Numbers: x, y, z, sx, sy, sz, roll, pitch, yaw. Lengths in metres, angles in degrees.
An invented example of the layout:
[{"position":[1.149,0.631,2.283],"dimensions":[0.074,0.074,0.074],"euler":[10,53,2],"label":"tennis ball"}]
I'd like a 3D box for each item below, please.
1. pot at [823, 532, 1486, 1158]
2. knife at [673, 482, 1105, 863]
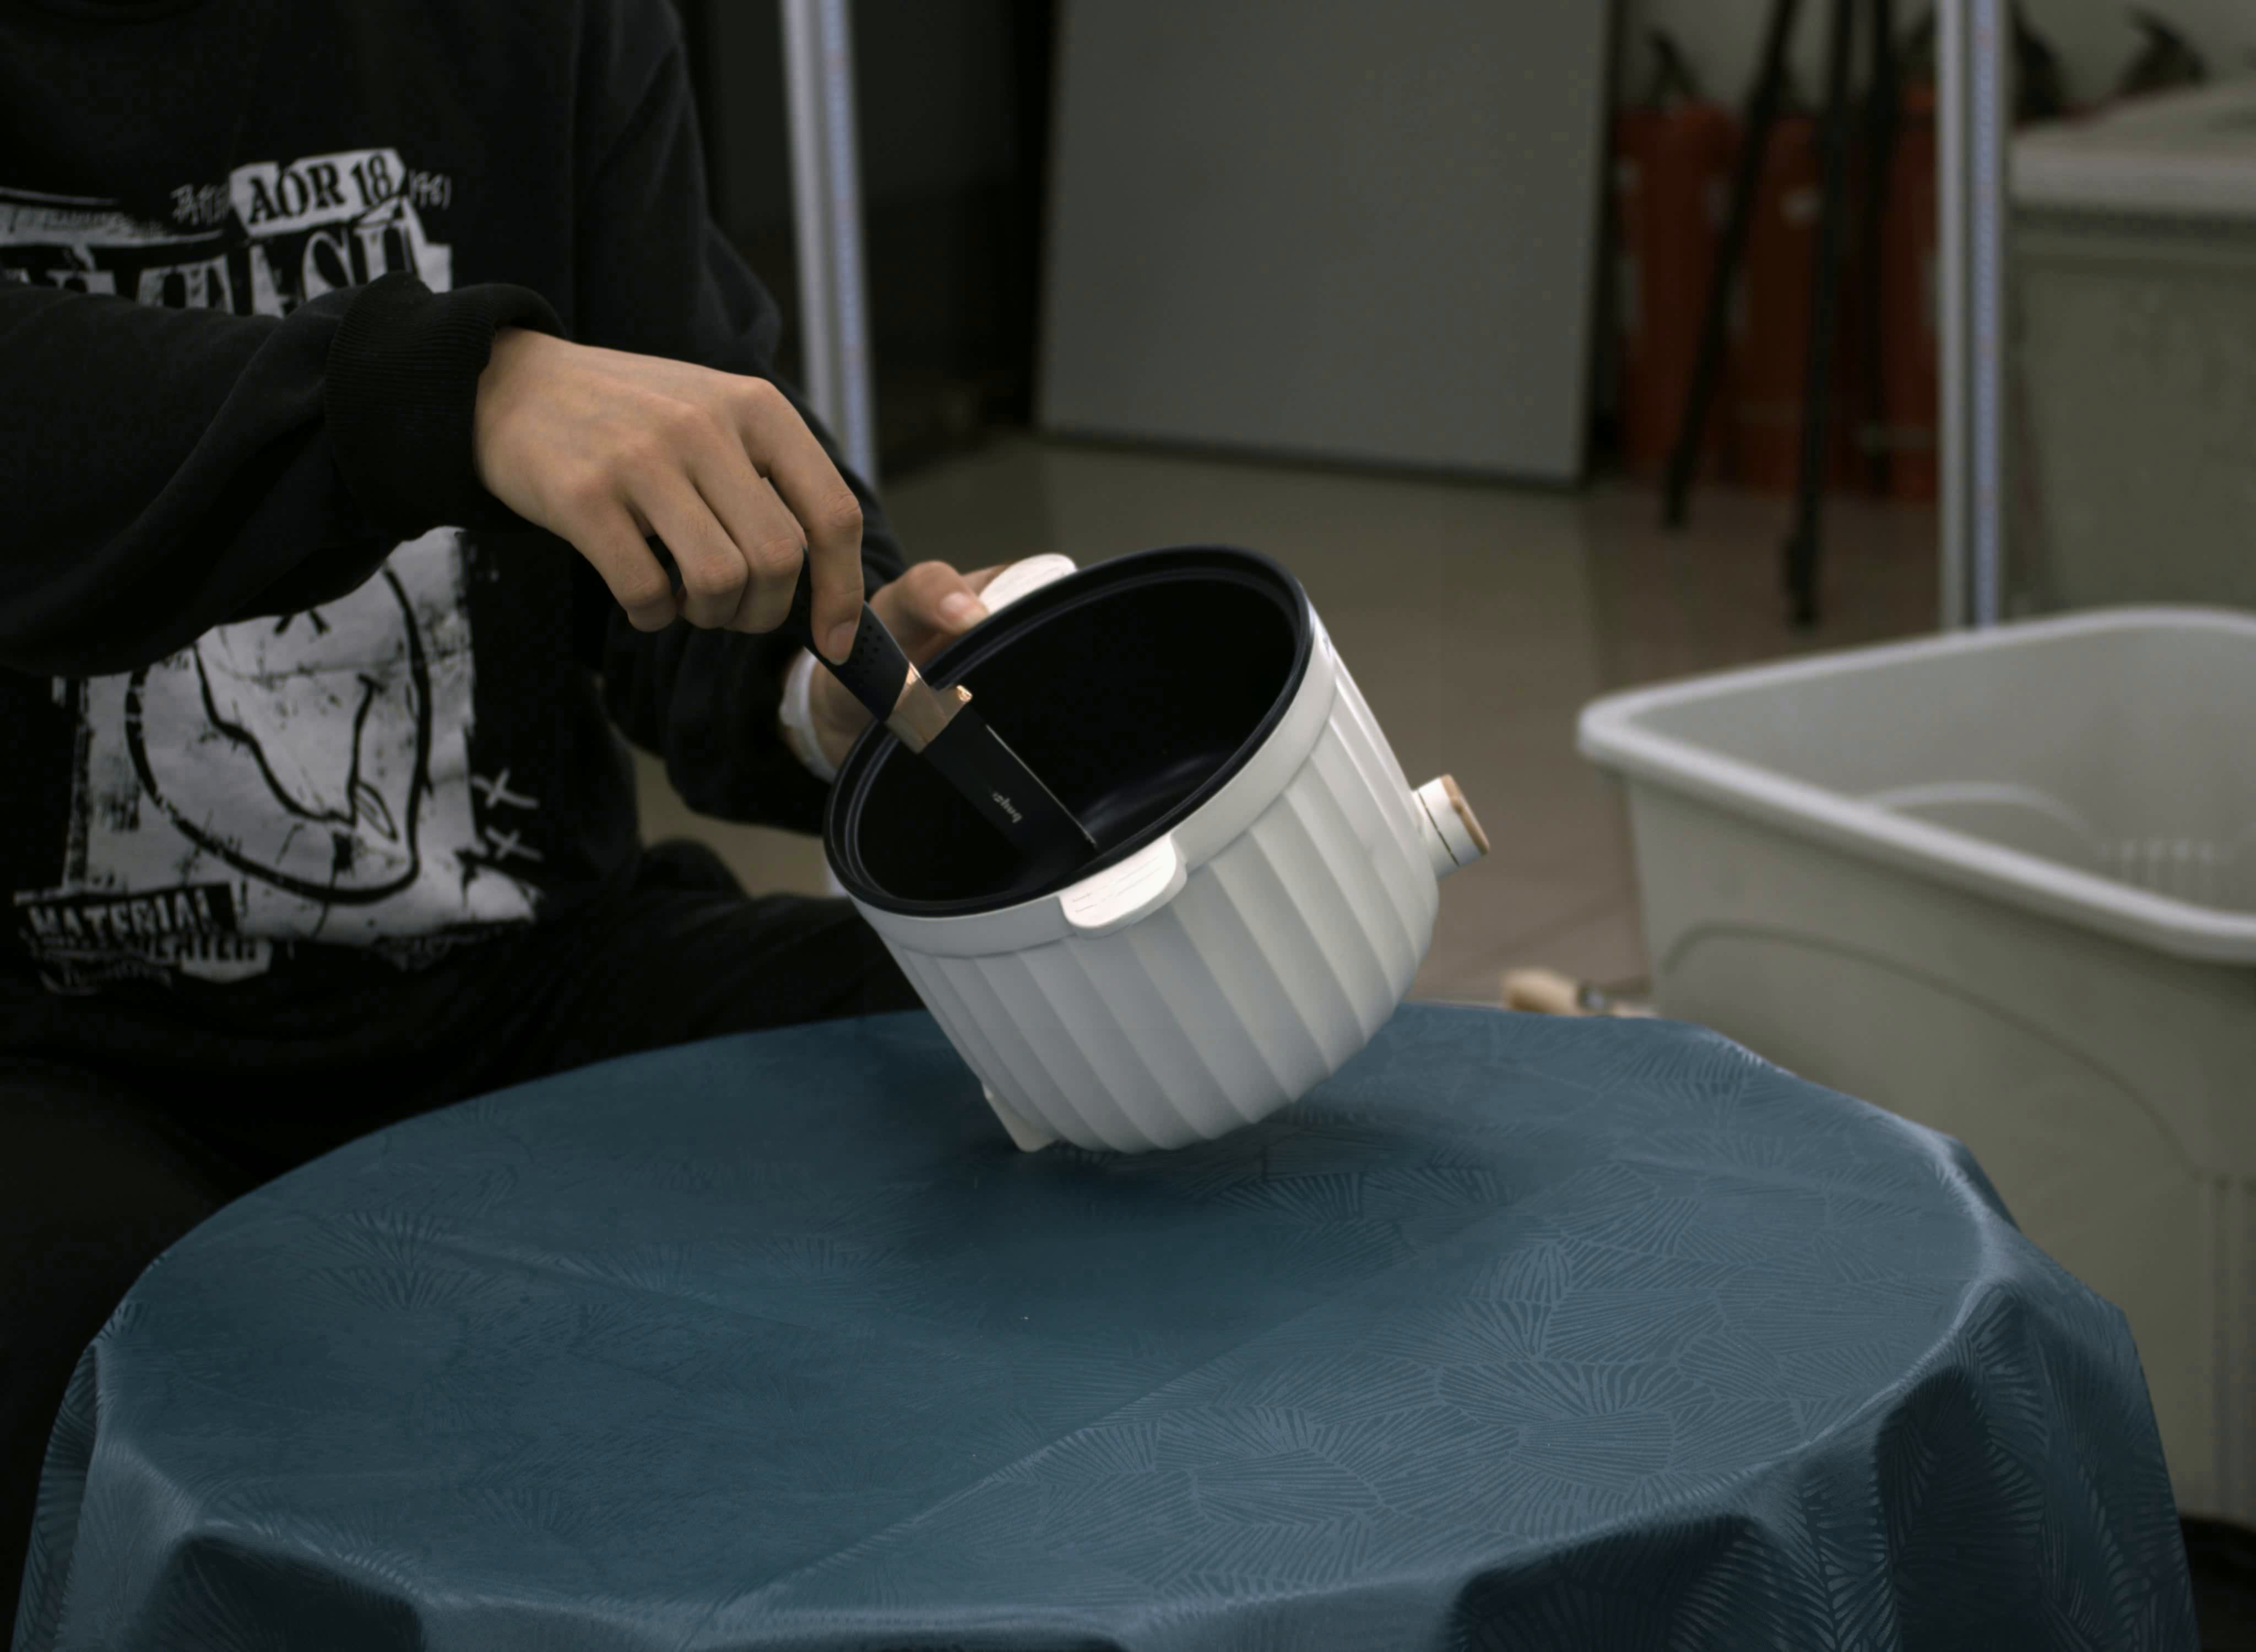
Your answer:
[{"position":[0.013,0.010,1.798],"dimensions":[0.190,0.141,0.242],"euler":[-33,30,8],"label":"pot"},{"position":[-0.060,-0.031,1.723],"dimensions":[0.017,0.224,0.026],"euler":[-24,27,55],"label":"knife"}]
